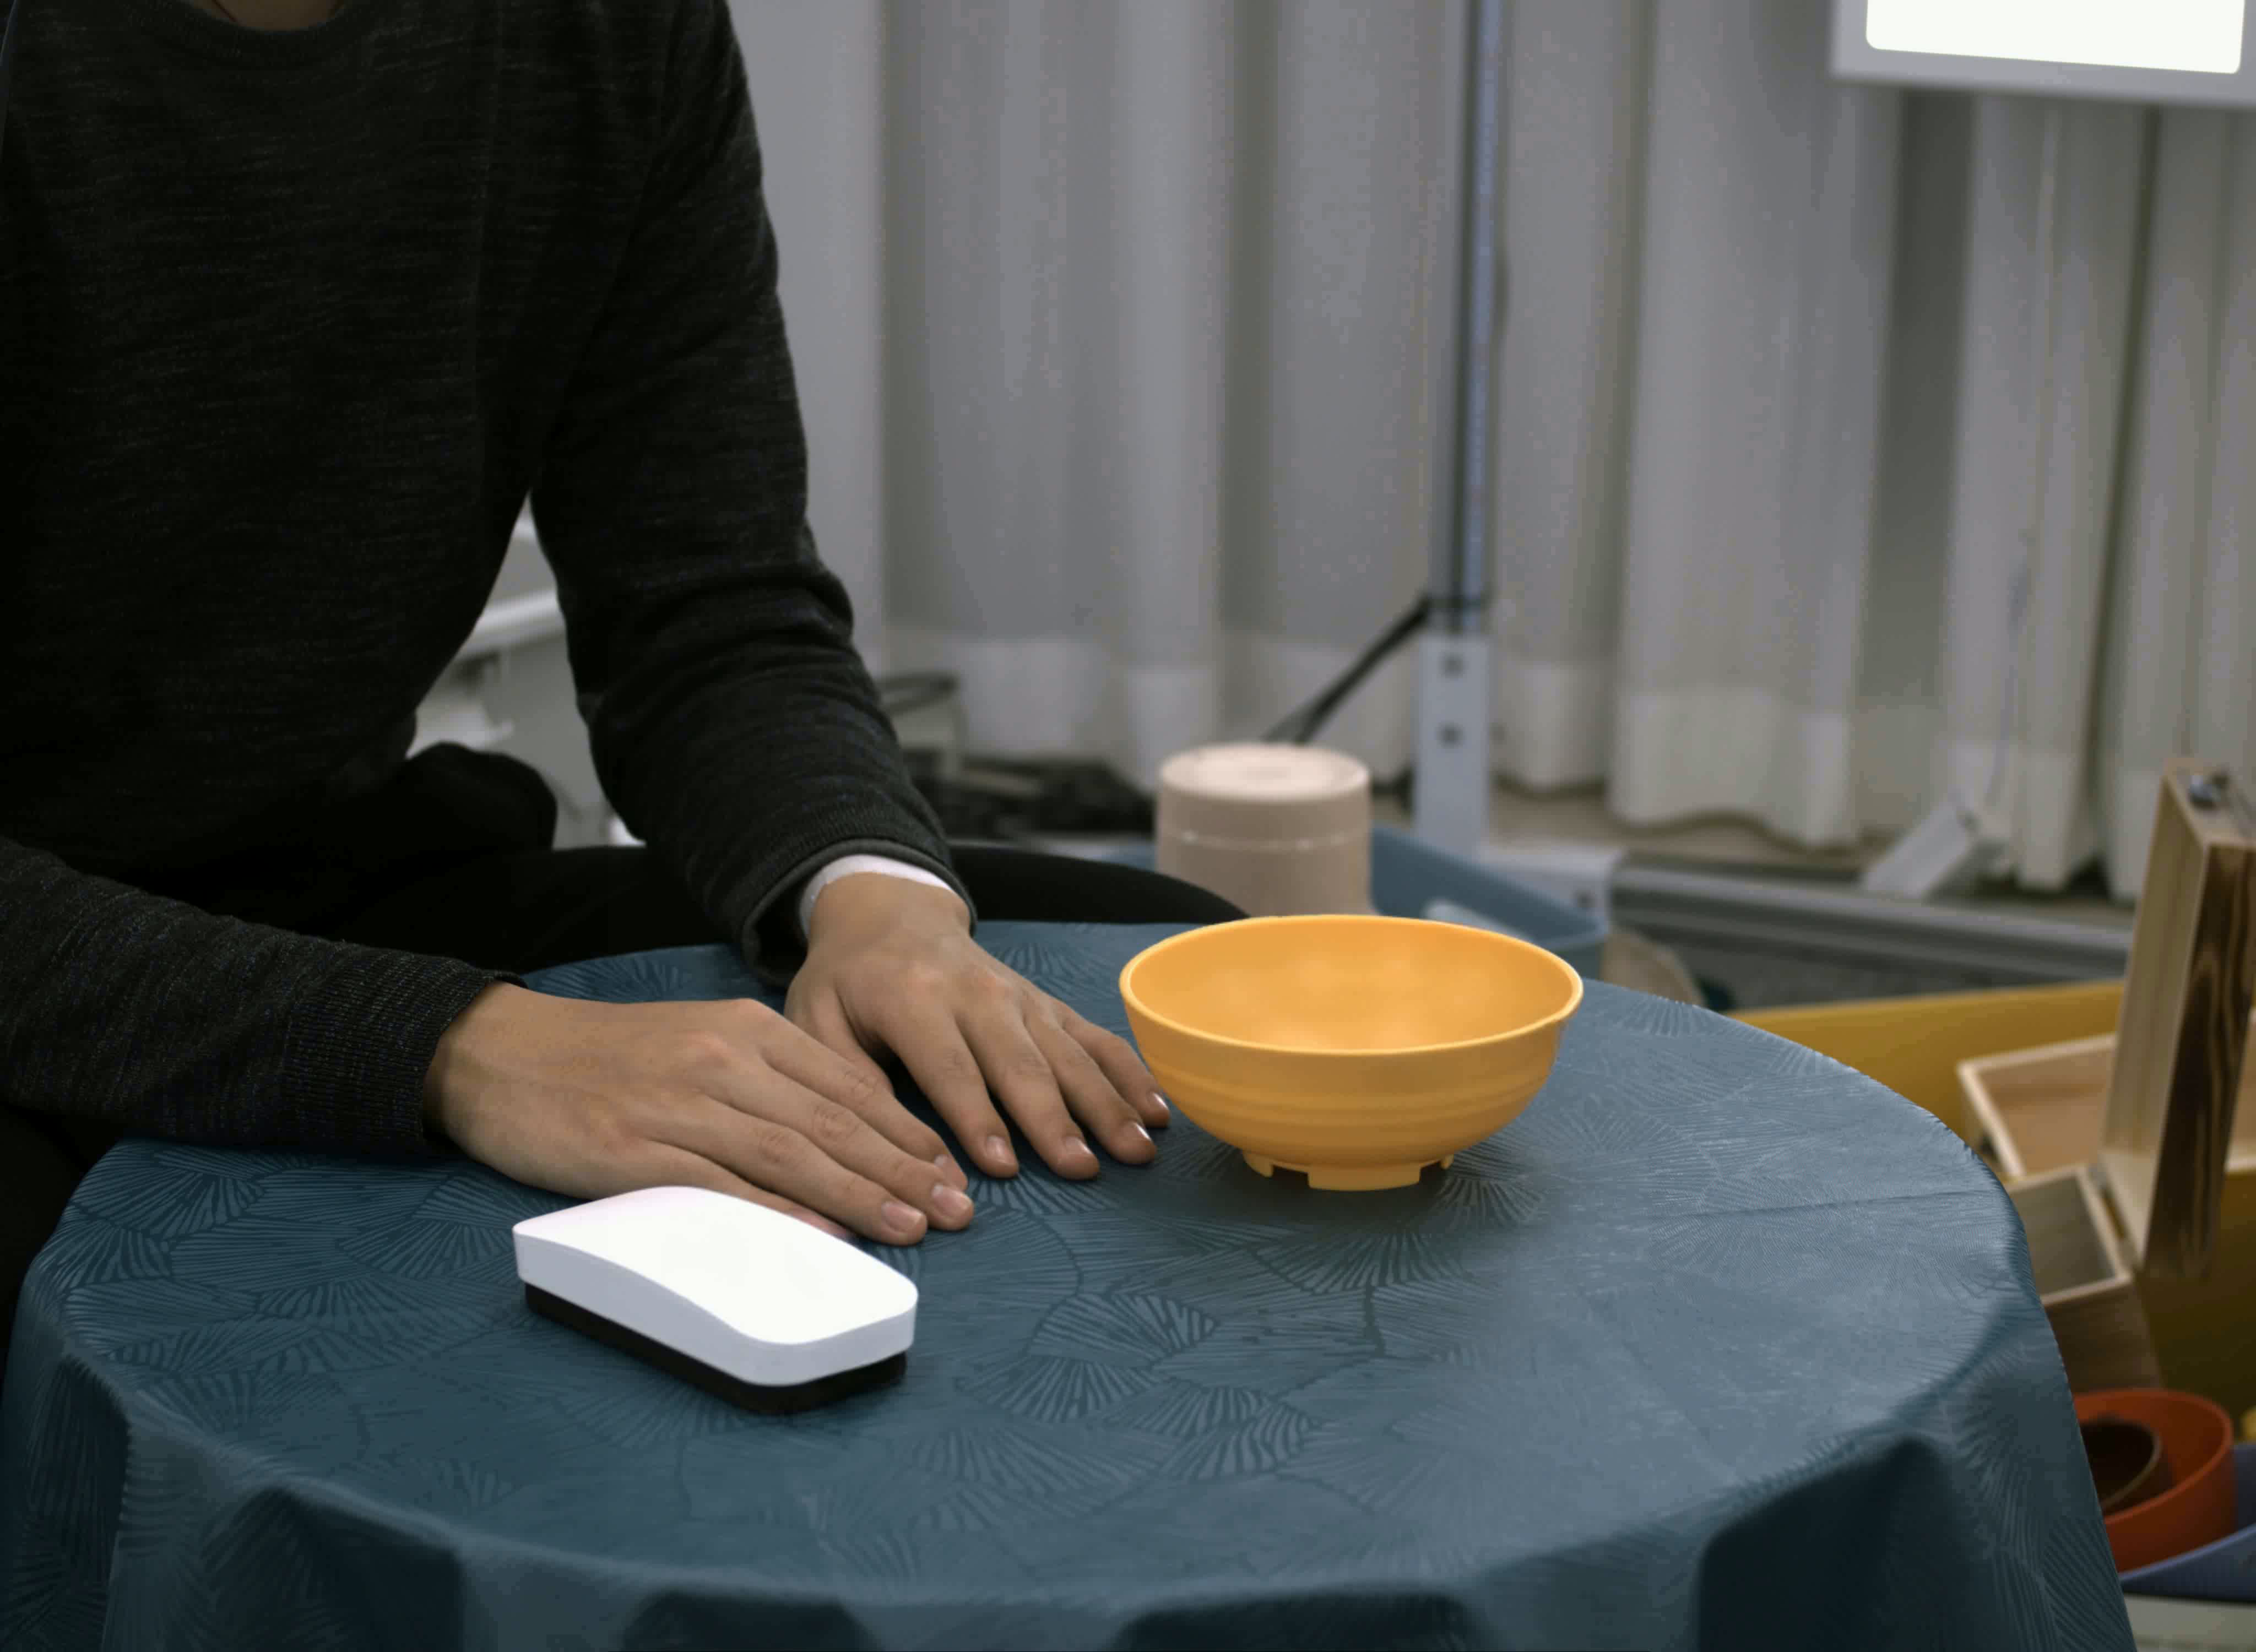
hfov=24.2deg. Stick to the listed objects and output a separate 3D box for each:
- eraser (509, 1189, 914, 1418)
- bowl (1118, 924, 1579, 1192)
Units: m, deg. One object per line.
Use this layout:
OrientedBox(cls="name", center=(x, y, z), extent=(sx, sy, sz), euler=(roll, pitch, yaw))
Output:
OrientedBox(cls="eraser", center=(-0.118, 0.131, 1.493), extent=(0.064, 0.035, 0.129), euler=(-12, 21, -40))
OrientedBox(cls="bowl", center=(0.068, 0.076, 1.644), extent=(0.145, 0.060, 0.144), euler=(1, 14, 0))
